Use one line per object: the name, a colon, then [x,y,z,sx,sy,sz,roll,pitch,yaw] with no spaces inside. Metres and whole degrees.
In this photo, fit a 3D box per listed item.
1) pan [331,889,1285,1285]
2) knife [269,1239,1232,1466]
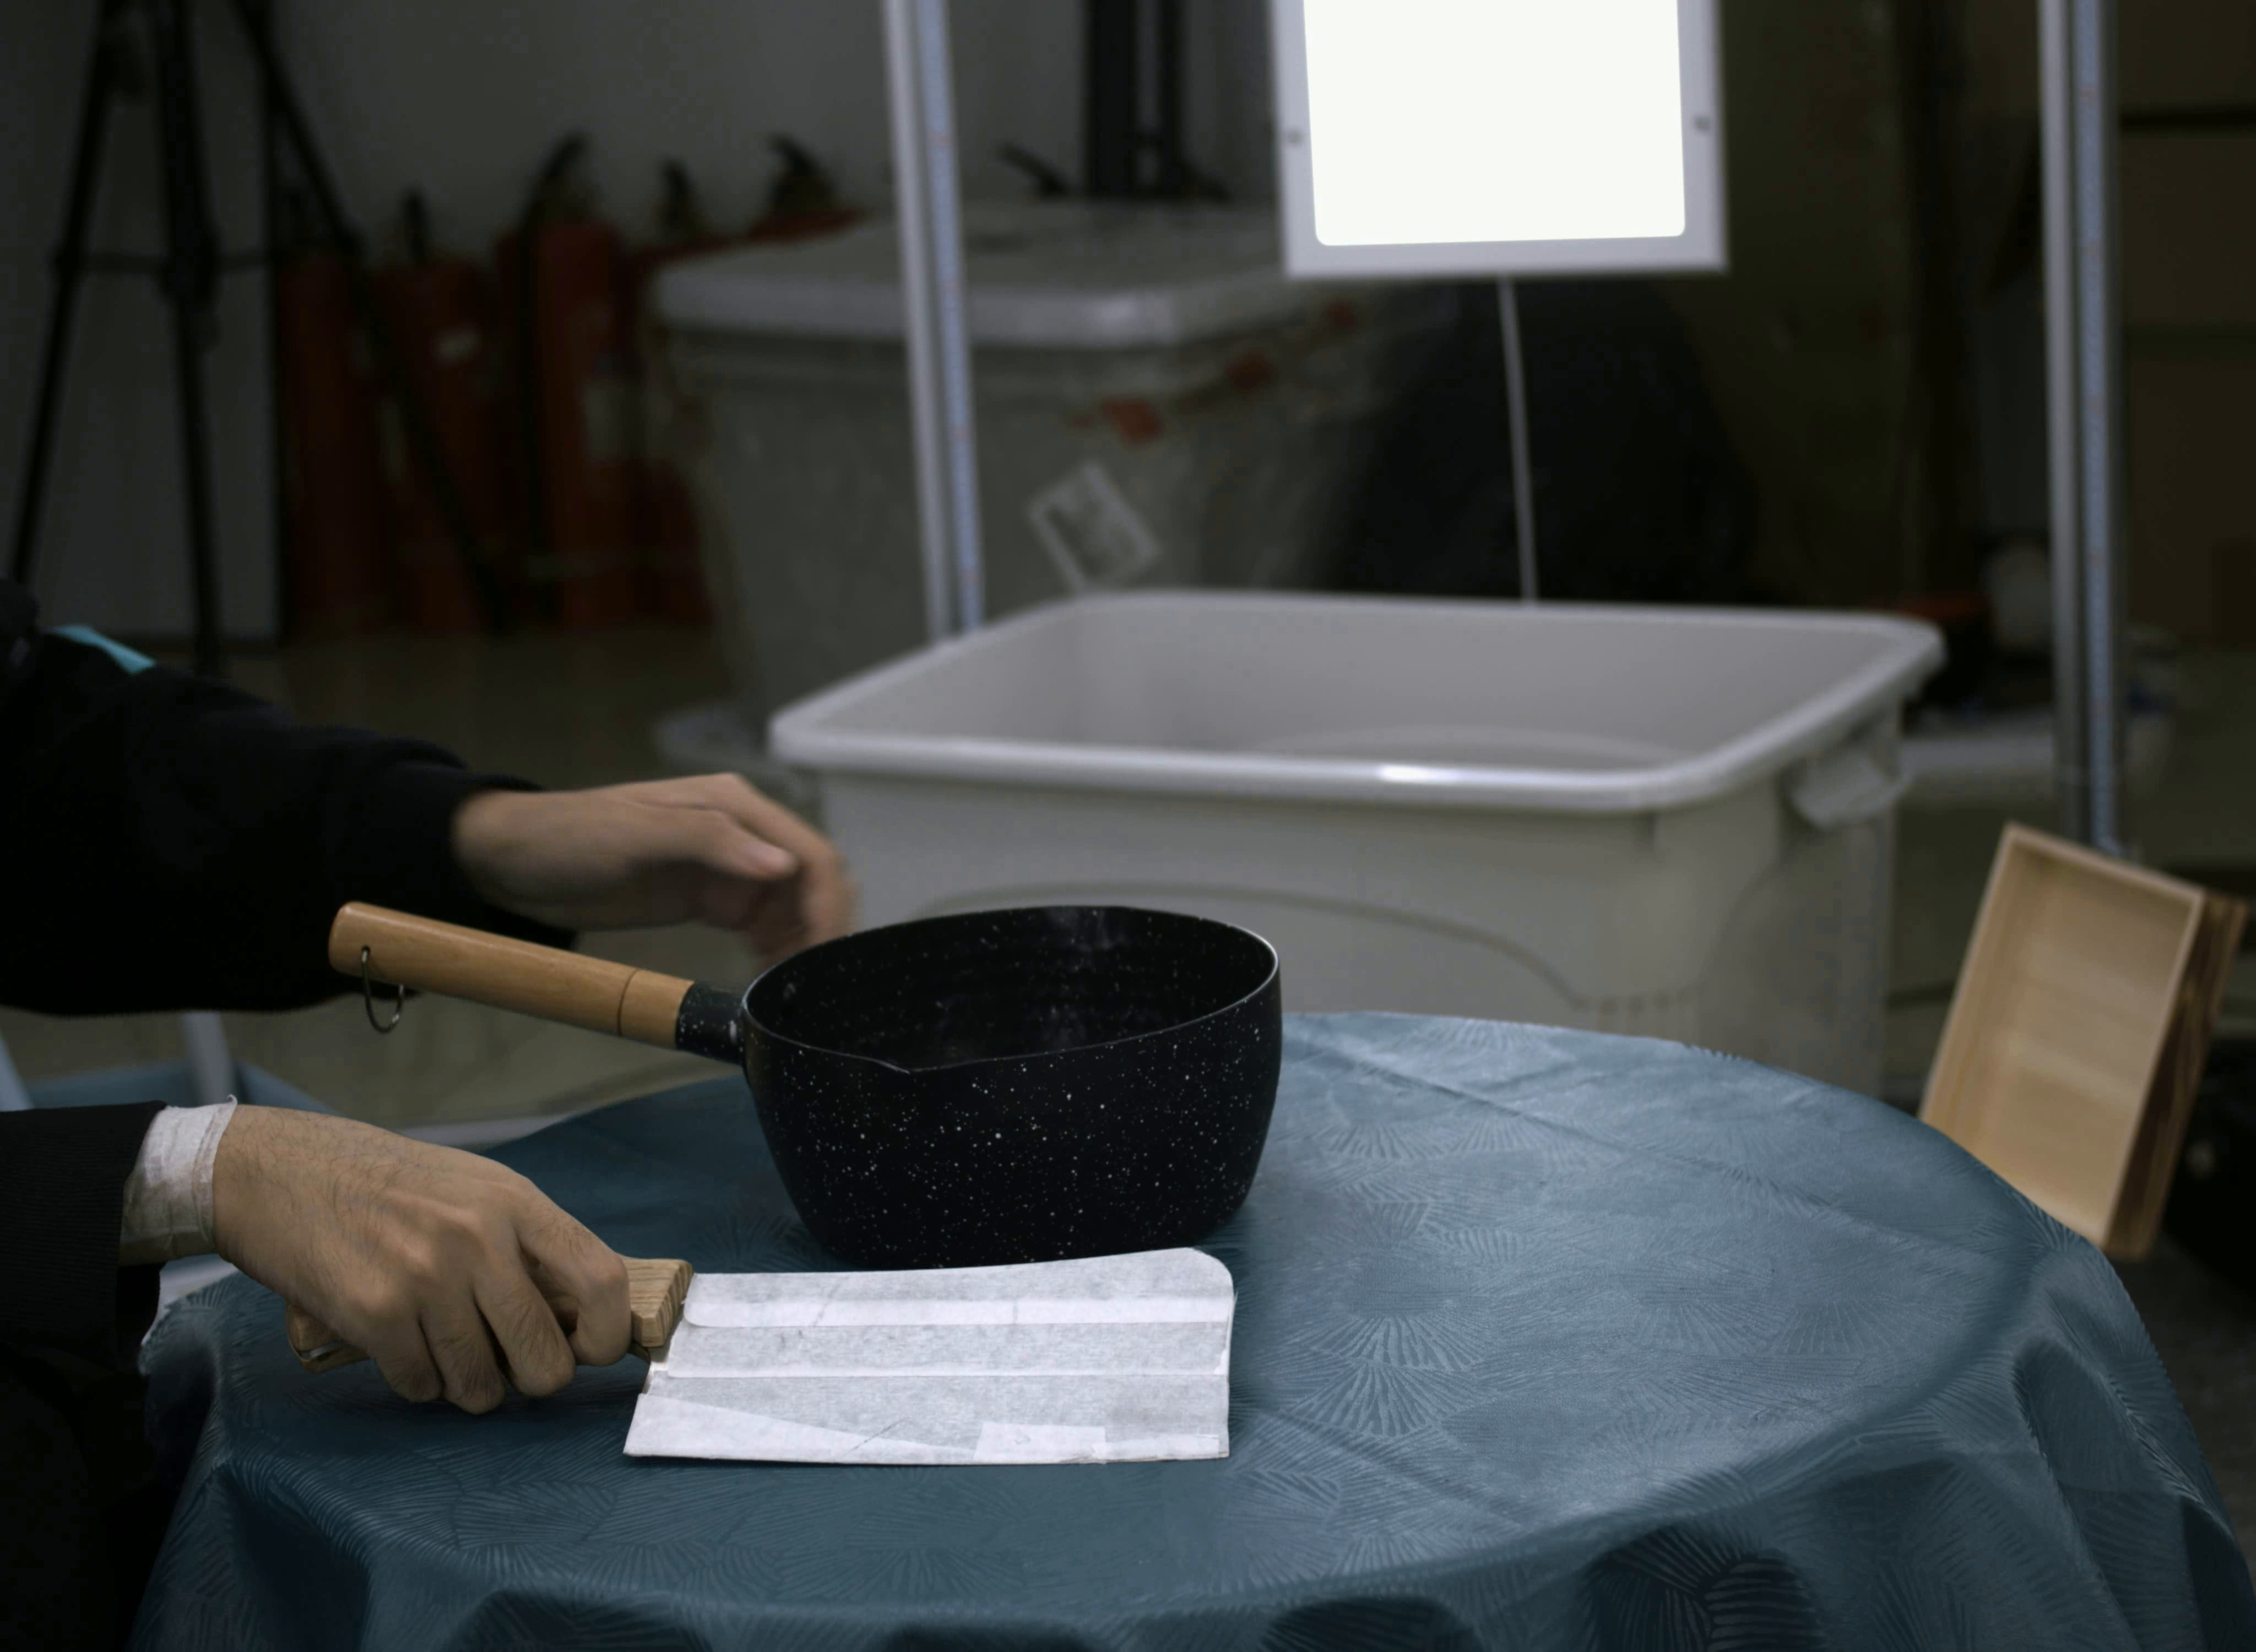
pan: [-0.114,0.080,1.896,0.346,0.108,0.204,1,16,17]
knife: [-0.116,0.161,1.711,0.318,0.022,0.112,0,35,14]
